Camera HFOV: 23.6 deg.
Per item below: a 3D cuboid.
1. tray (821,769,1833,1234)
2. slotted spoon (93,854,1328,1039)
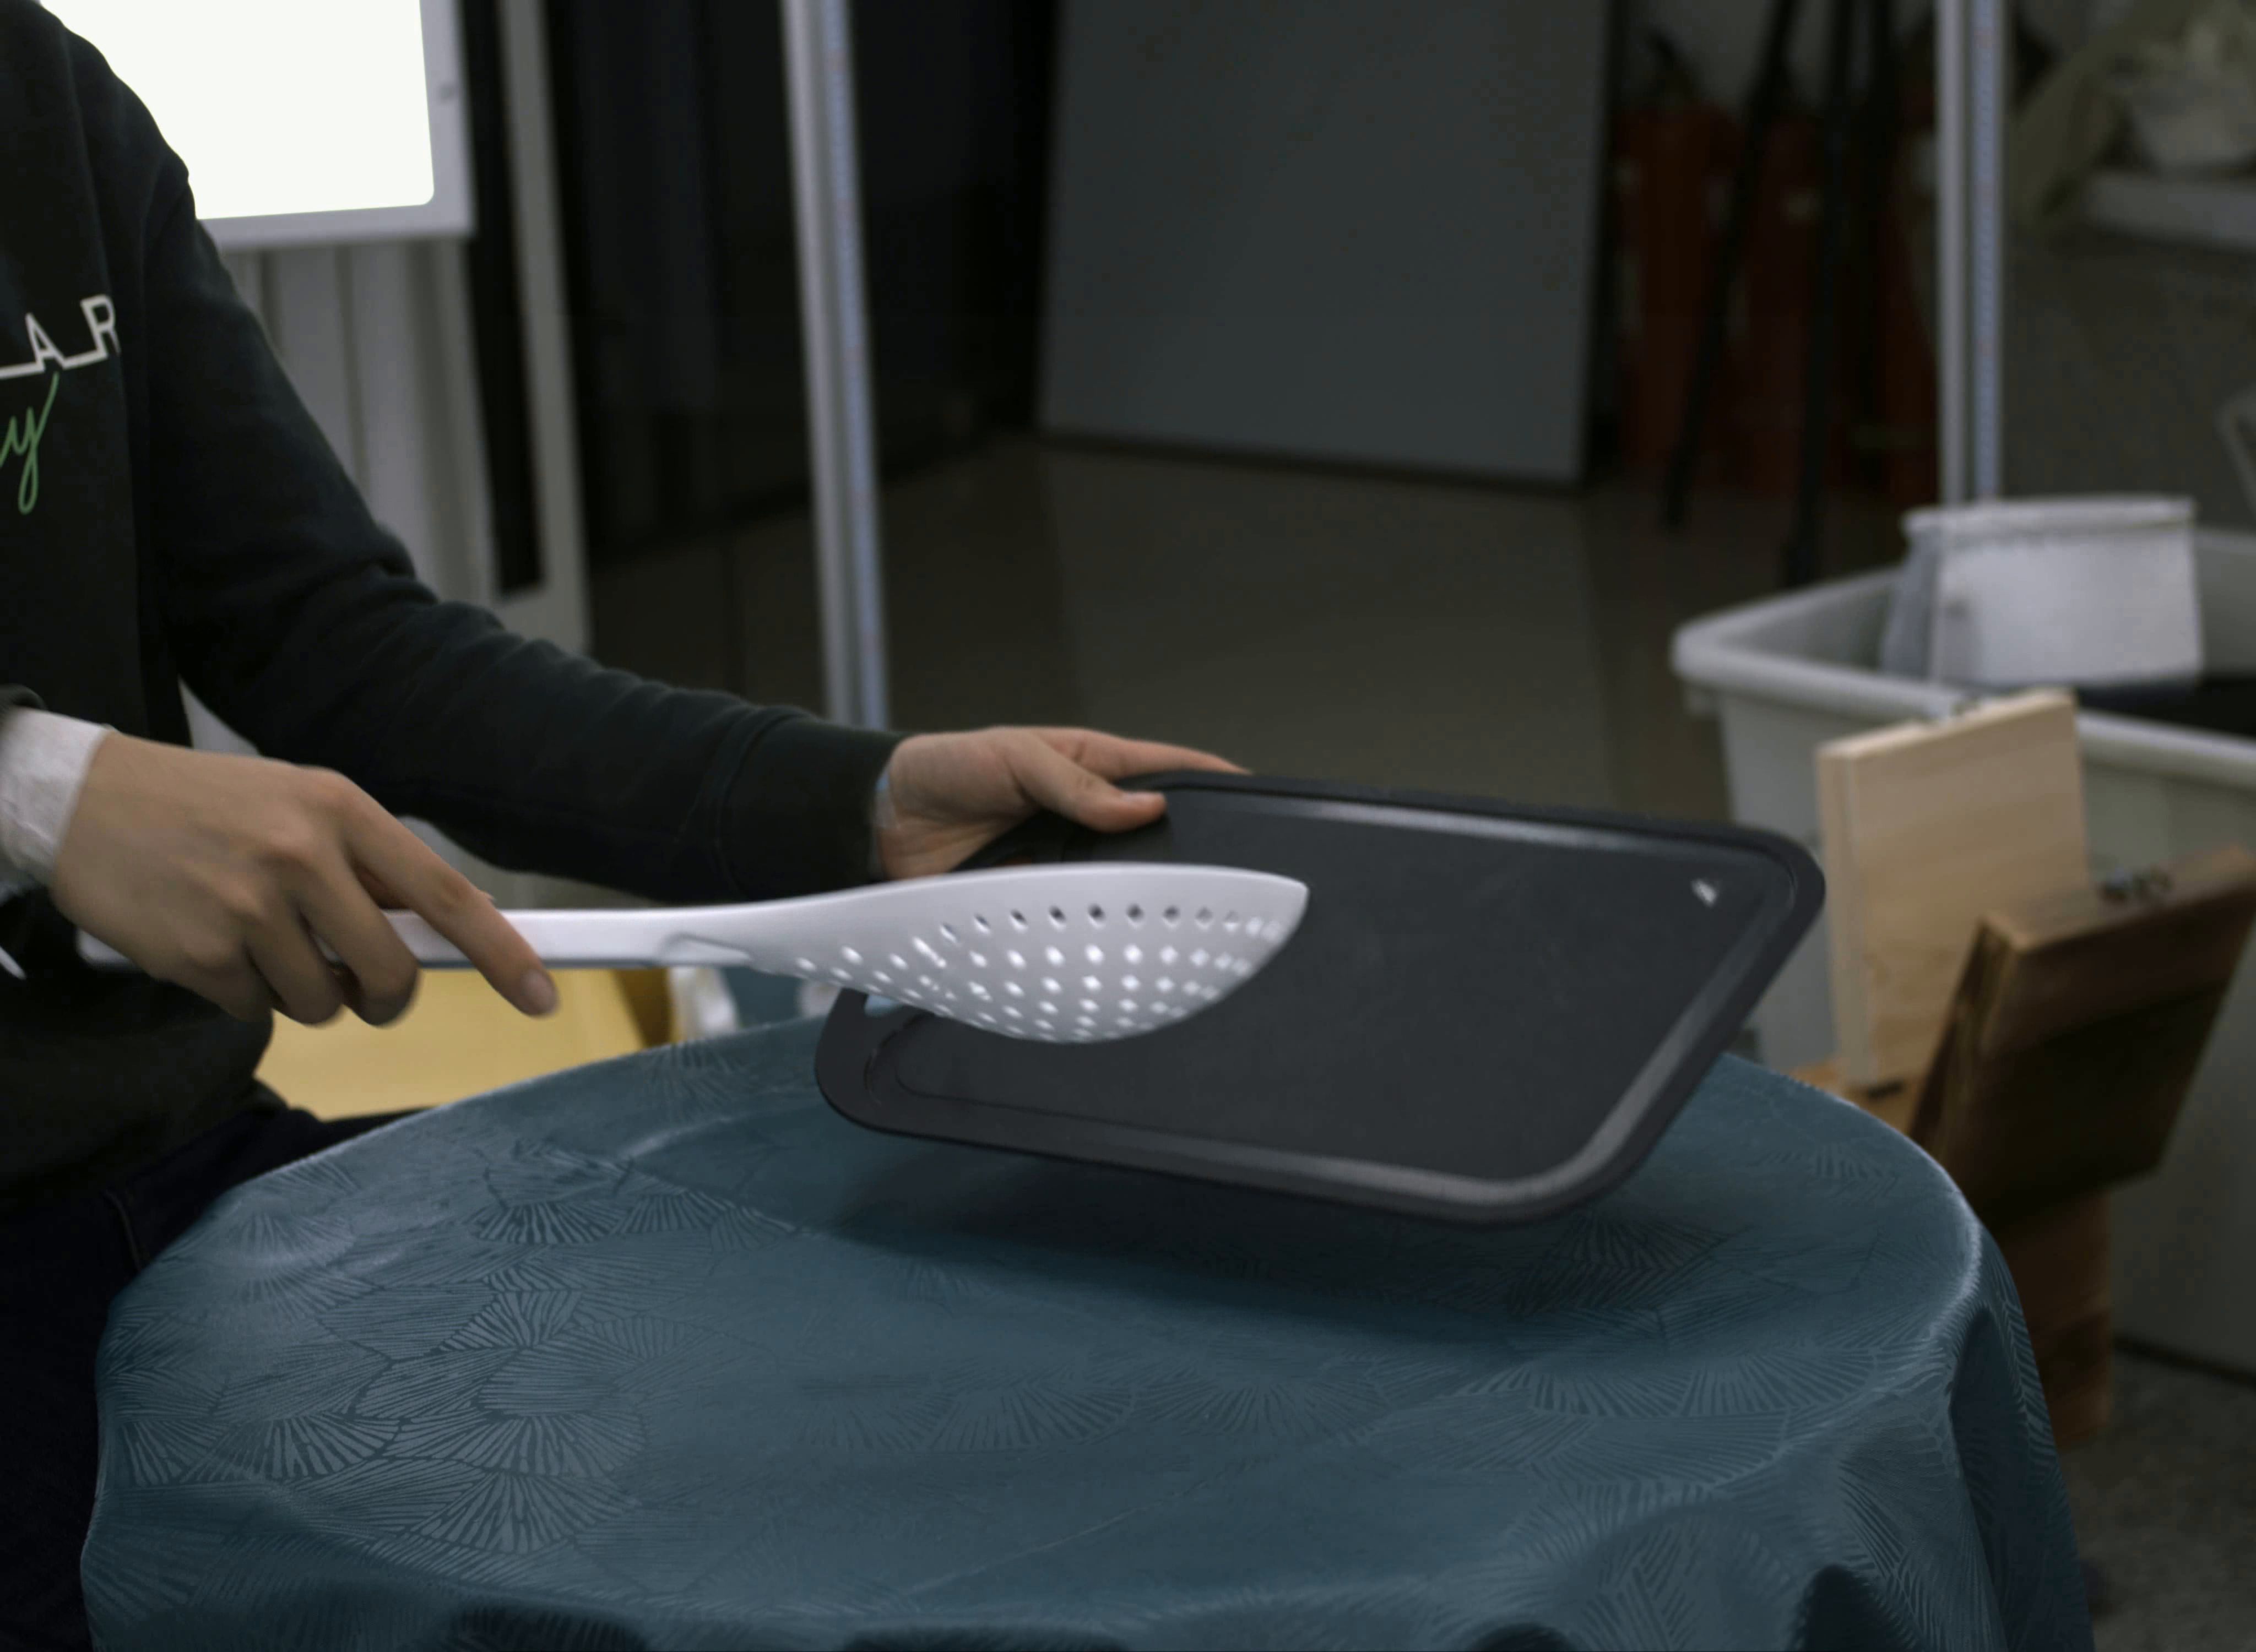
[{"bbox_3d":[0.054,0.050,1.742,0.327,0.010,0.209,7,39,35],"label":"tray"},{"bbox_3d":[-0.116,0.030,1.528,0.345,0.046,0.136,3,-10,-2],"label":"slotted spoon"}]
